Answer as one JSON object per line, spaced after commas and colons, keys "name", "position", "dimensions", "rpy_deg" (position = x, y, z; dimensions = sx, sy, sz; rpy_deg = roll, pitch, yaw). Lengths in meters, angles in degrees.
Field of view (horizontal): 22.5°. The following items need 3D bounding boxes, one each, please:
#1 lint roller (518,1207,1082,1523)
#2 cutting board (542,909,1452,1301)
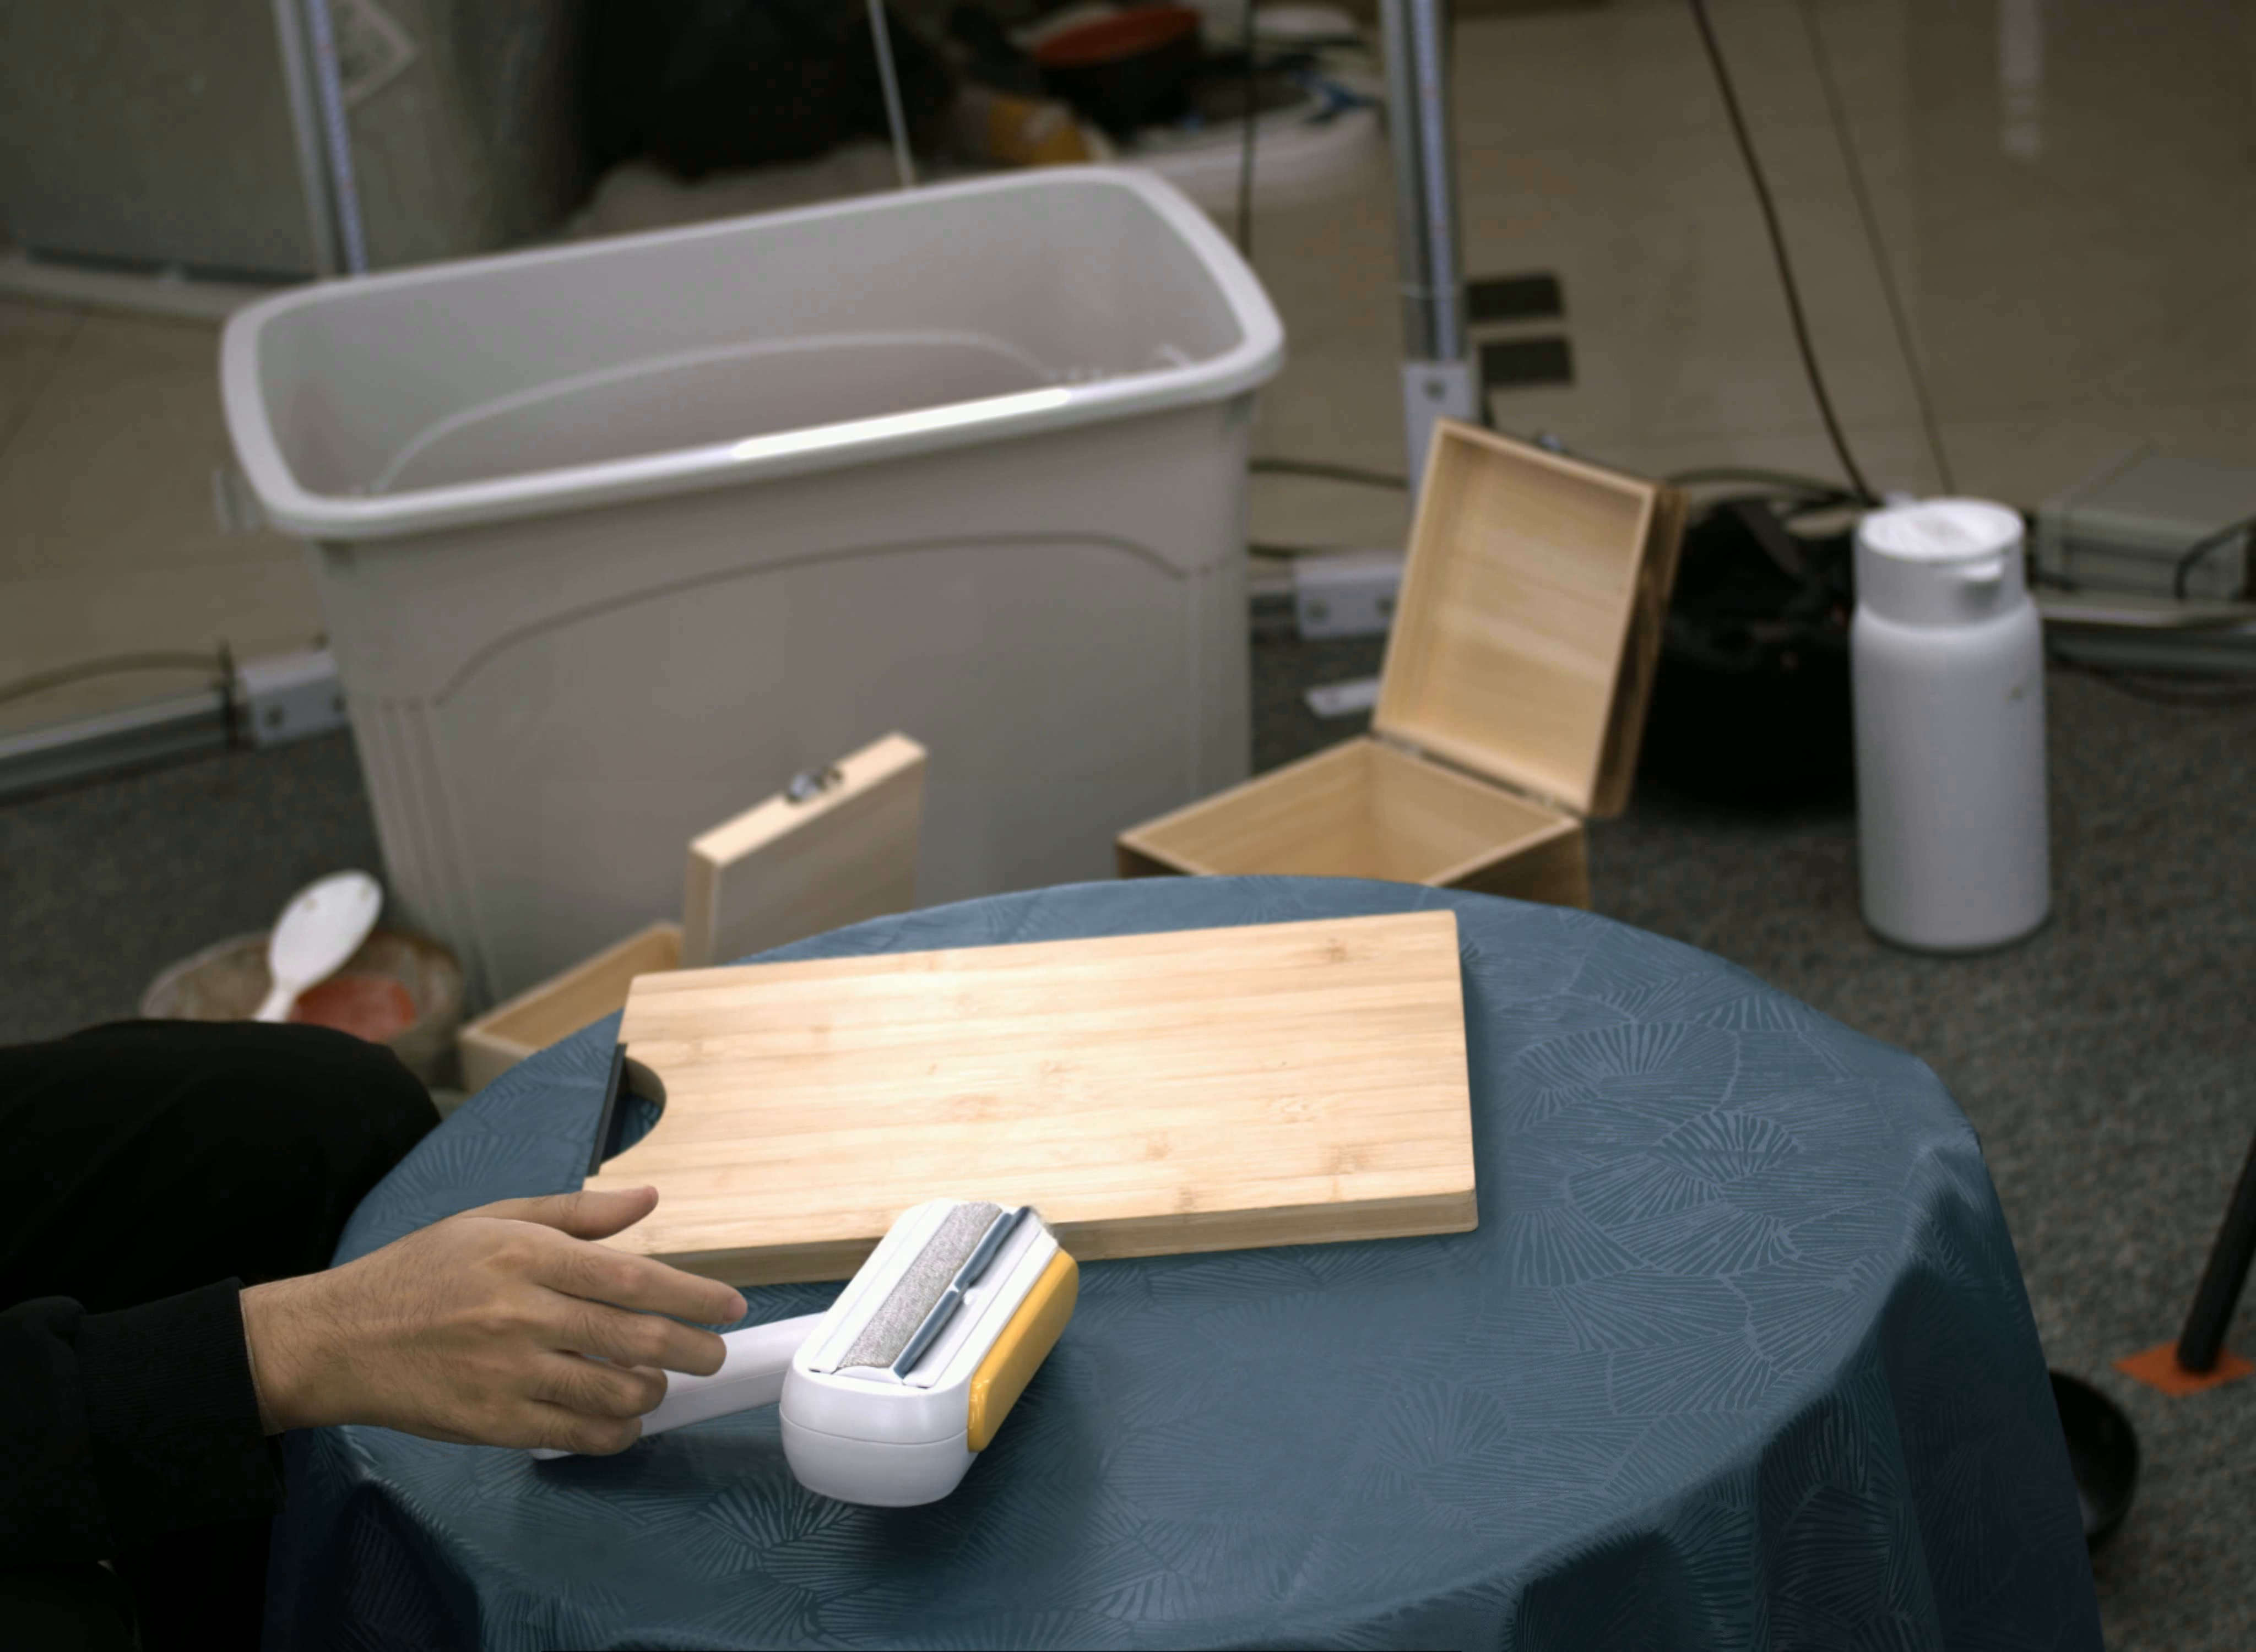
{"name": "lint roller", "position": [-0.126, 0.190, 1.985], "dimensions": [0.192, 0.075, 0.190], "rpy_deg": [0, 20, 17]}
{"name": "cutting board", "position": [-0.043, 0.106, 2.206], "dimensions": [0.348, 0.024, 0.247], "rpy_deg": [-5, 25, 3]}
